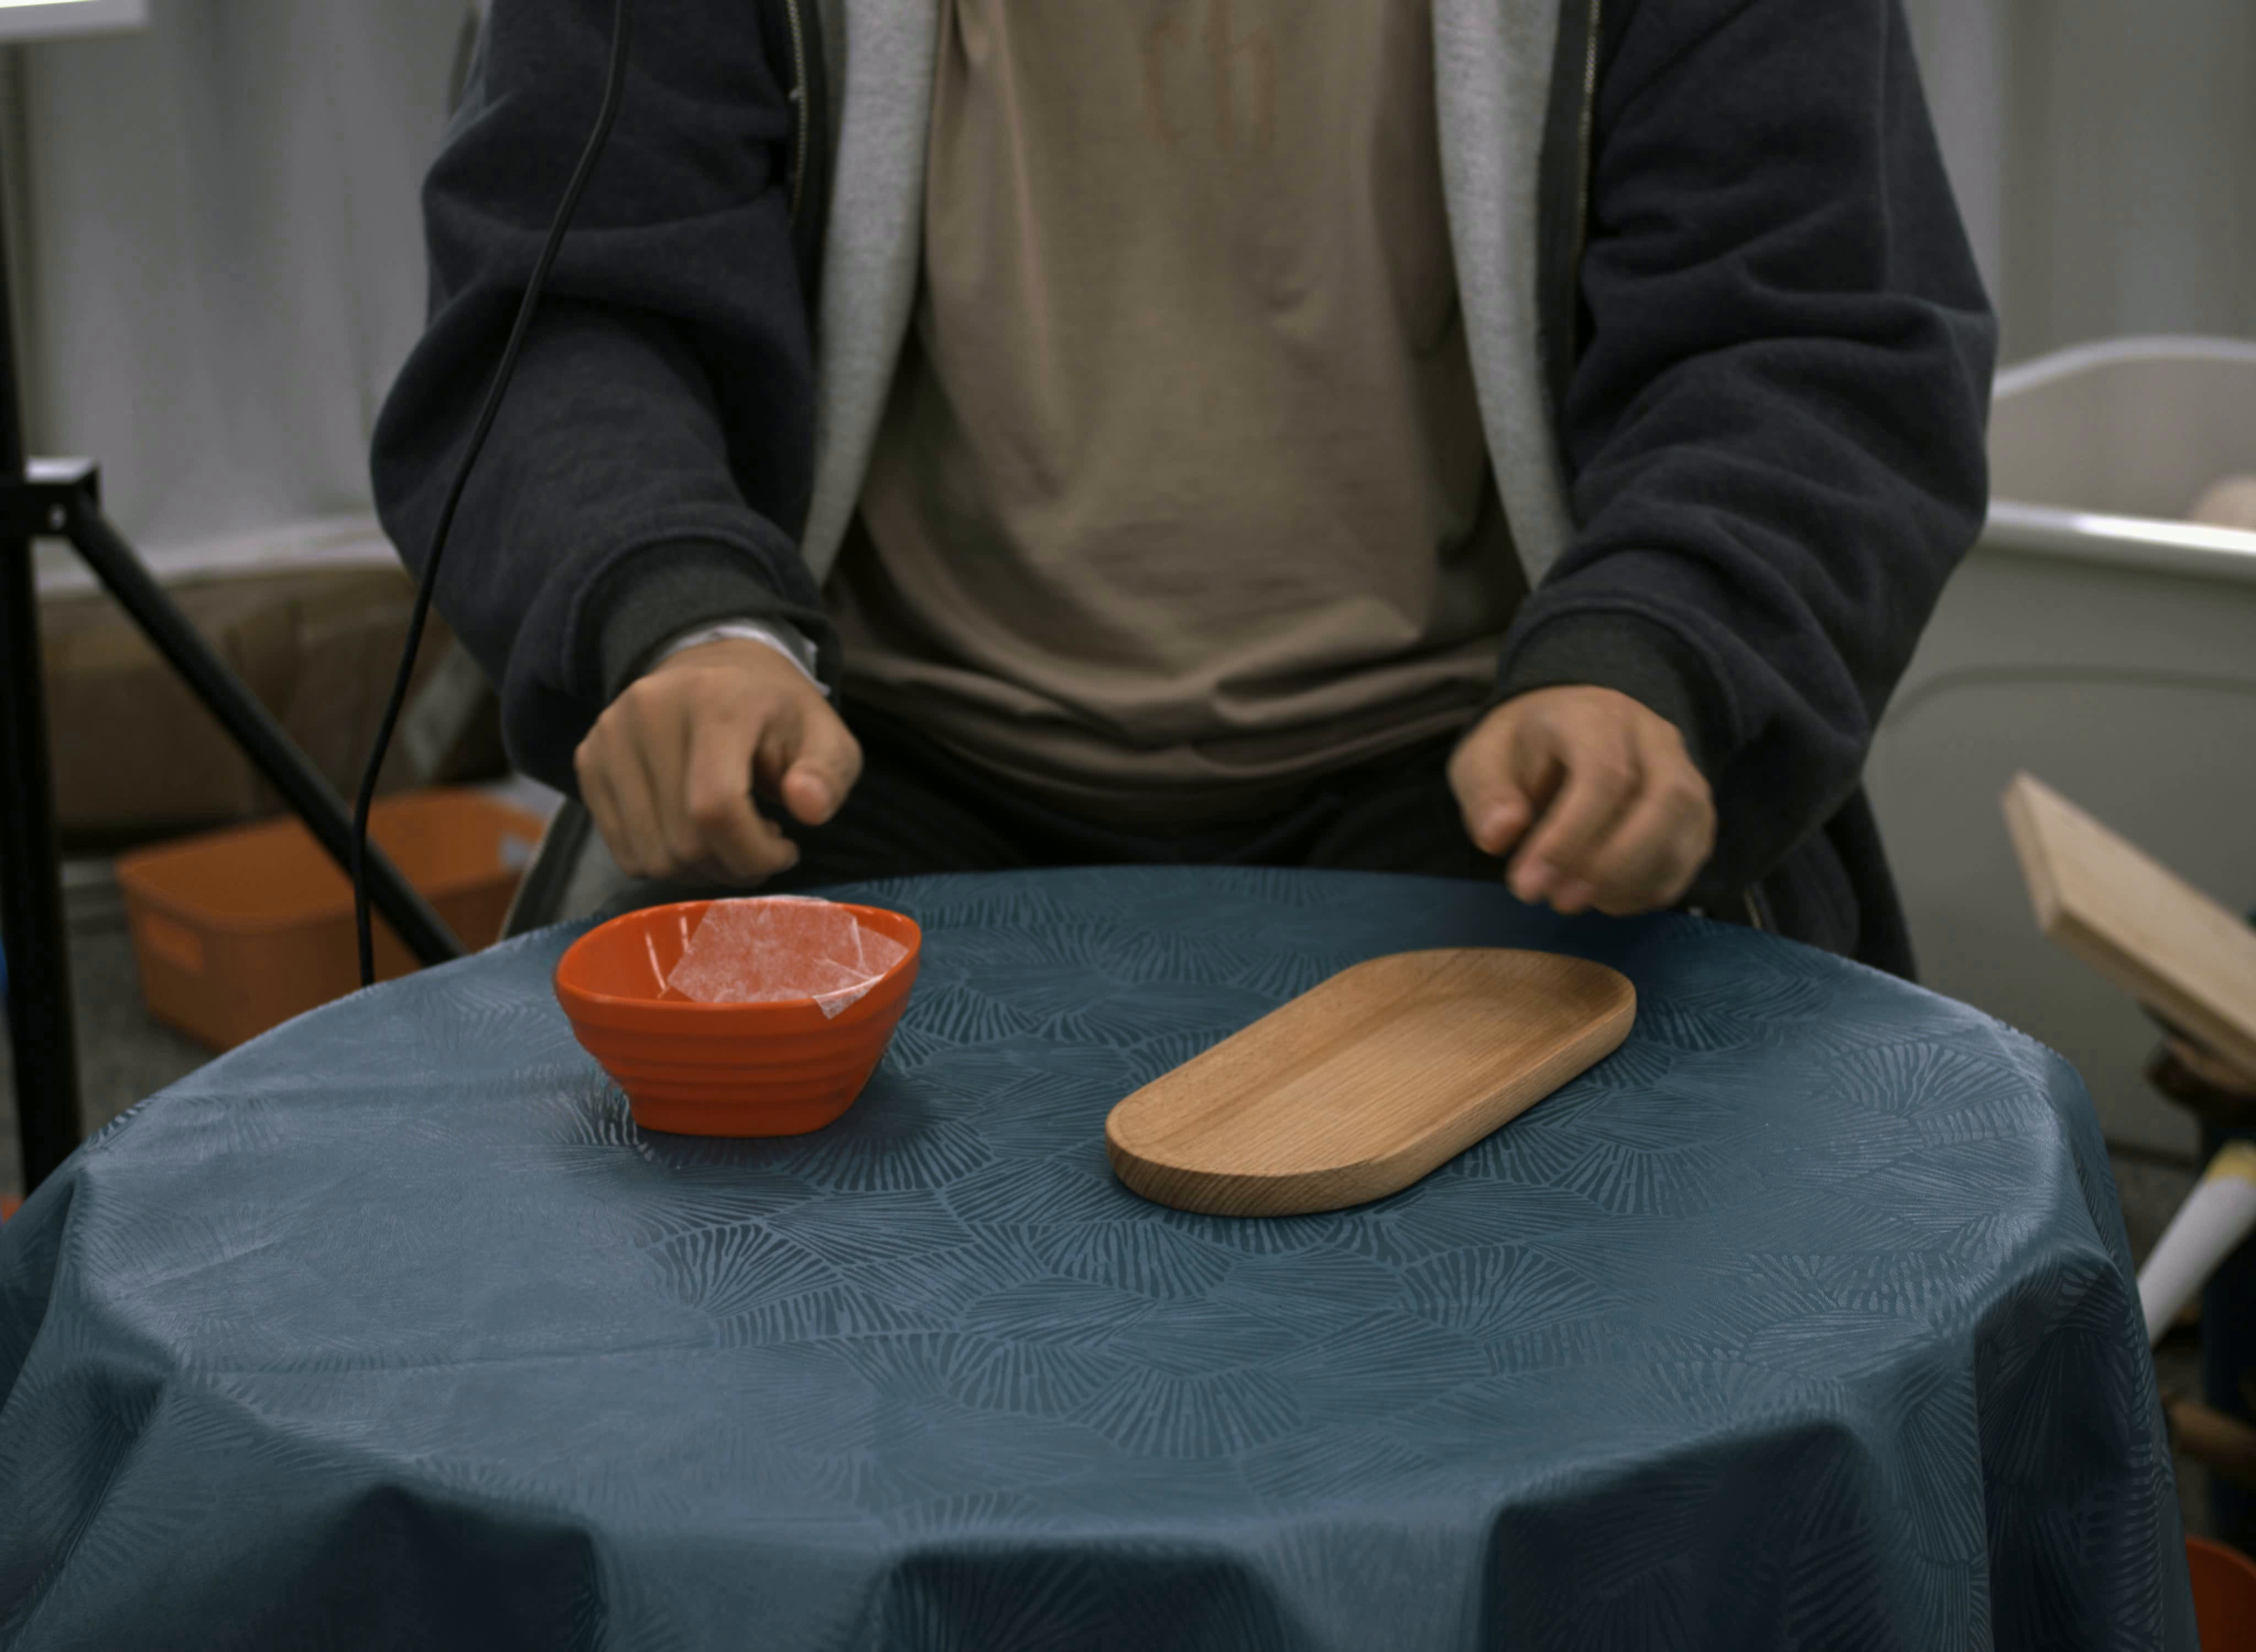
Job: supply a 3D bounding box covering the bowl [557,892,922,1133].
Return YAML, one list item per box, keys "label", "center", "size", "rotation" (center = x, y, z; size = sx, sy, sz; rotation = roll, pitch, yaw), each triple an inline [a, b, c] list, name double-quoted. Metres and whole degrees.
- label: "bowl"
  center: [-0.118, 0.060, 1.651]
  size: [0.118, 0.051, 0.119]
  rotation: [-4, 16, 0]

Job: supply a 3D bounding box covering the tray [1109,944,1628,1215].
- label: "tray"
  center: [0.077, 0.076, 1.631]
  size: [0.103, 0.020, 0.227]
  rotation: [8, 18, 29]
